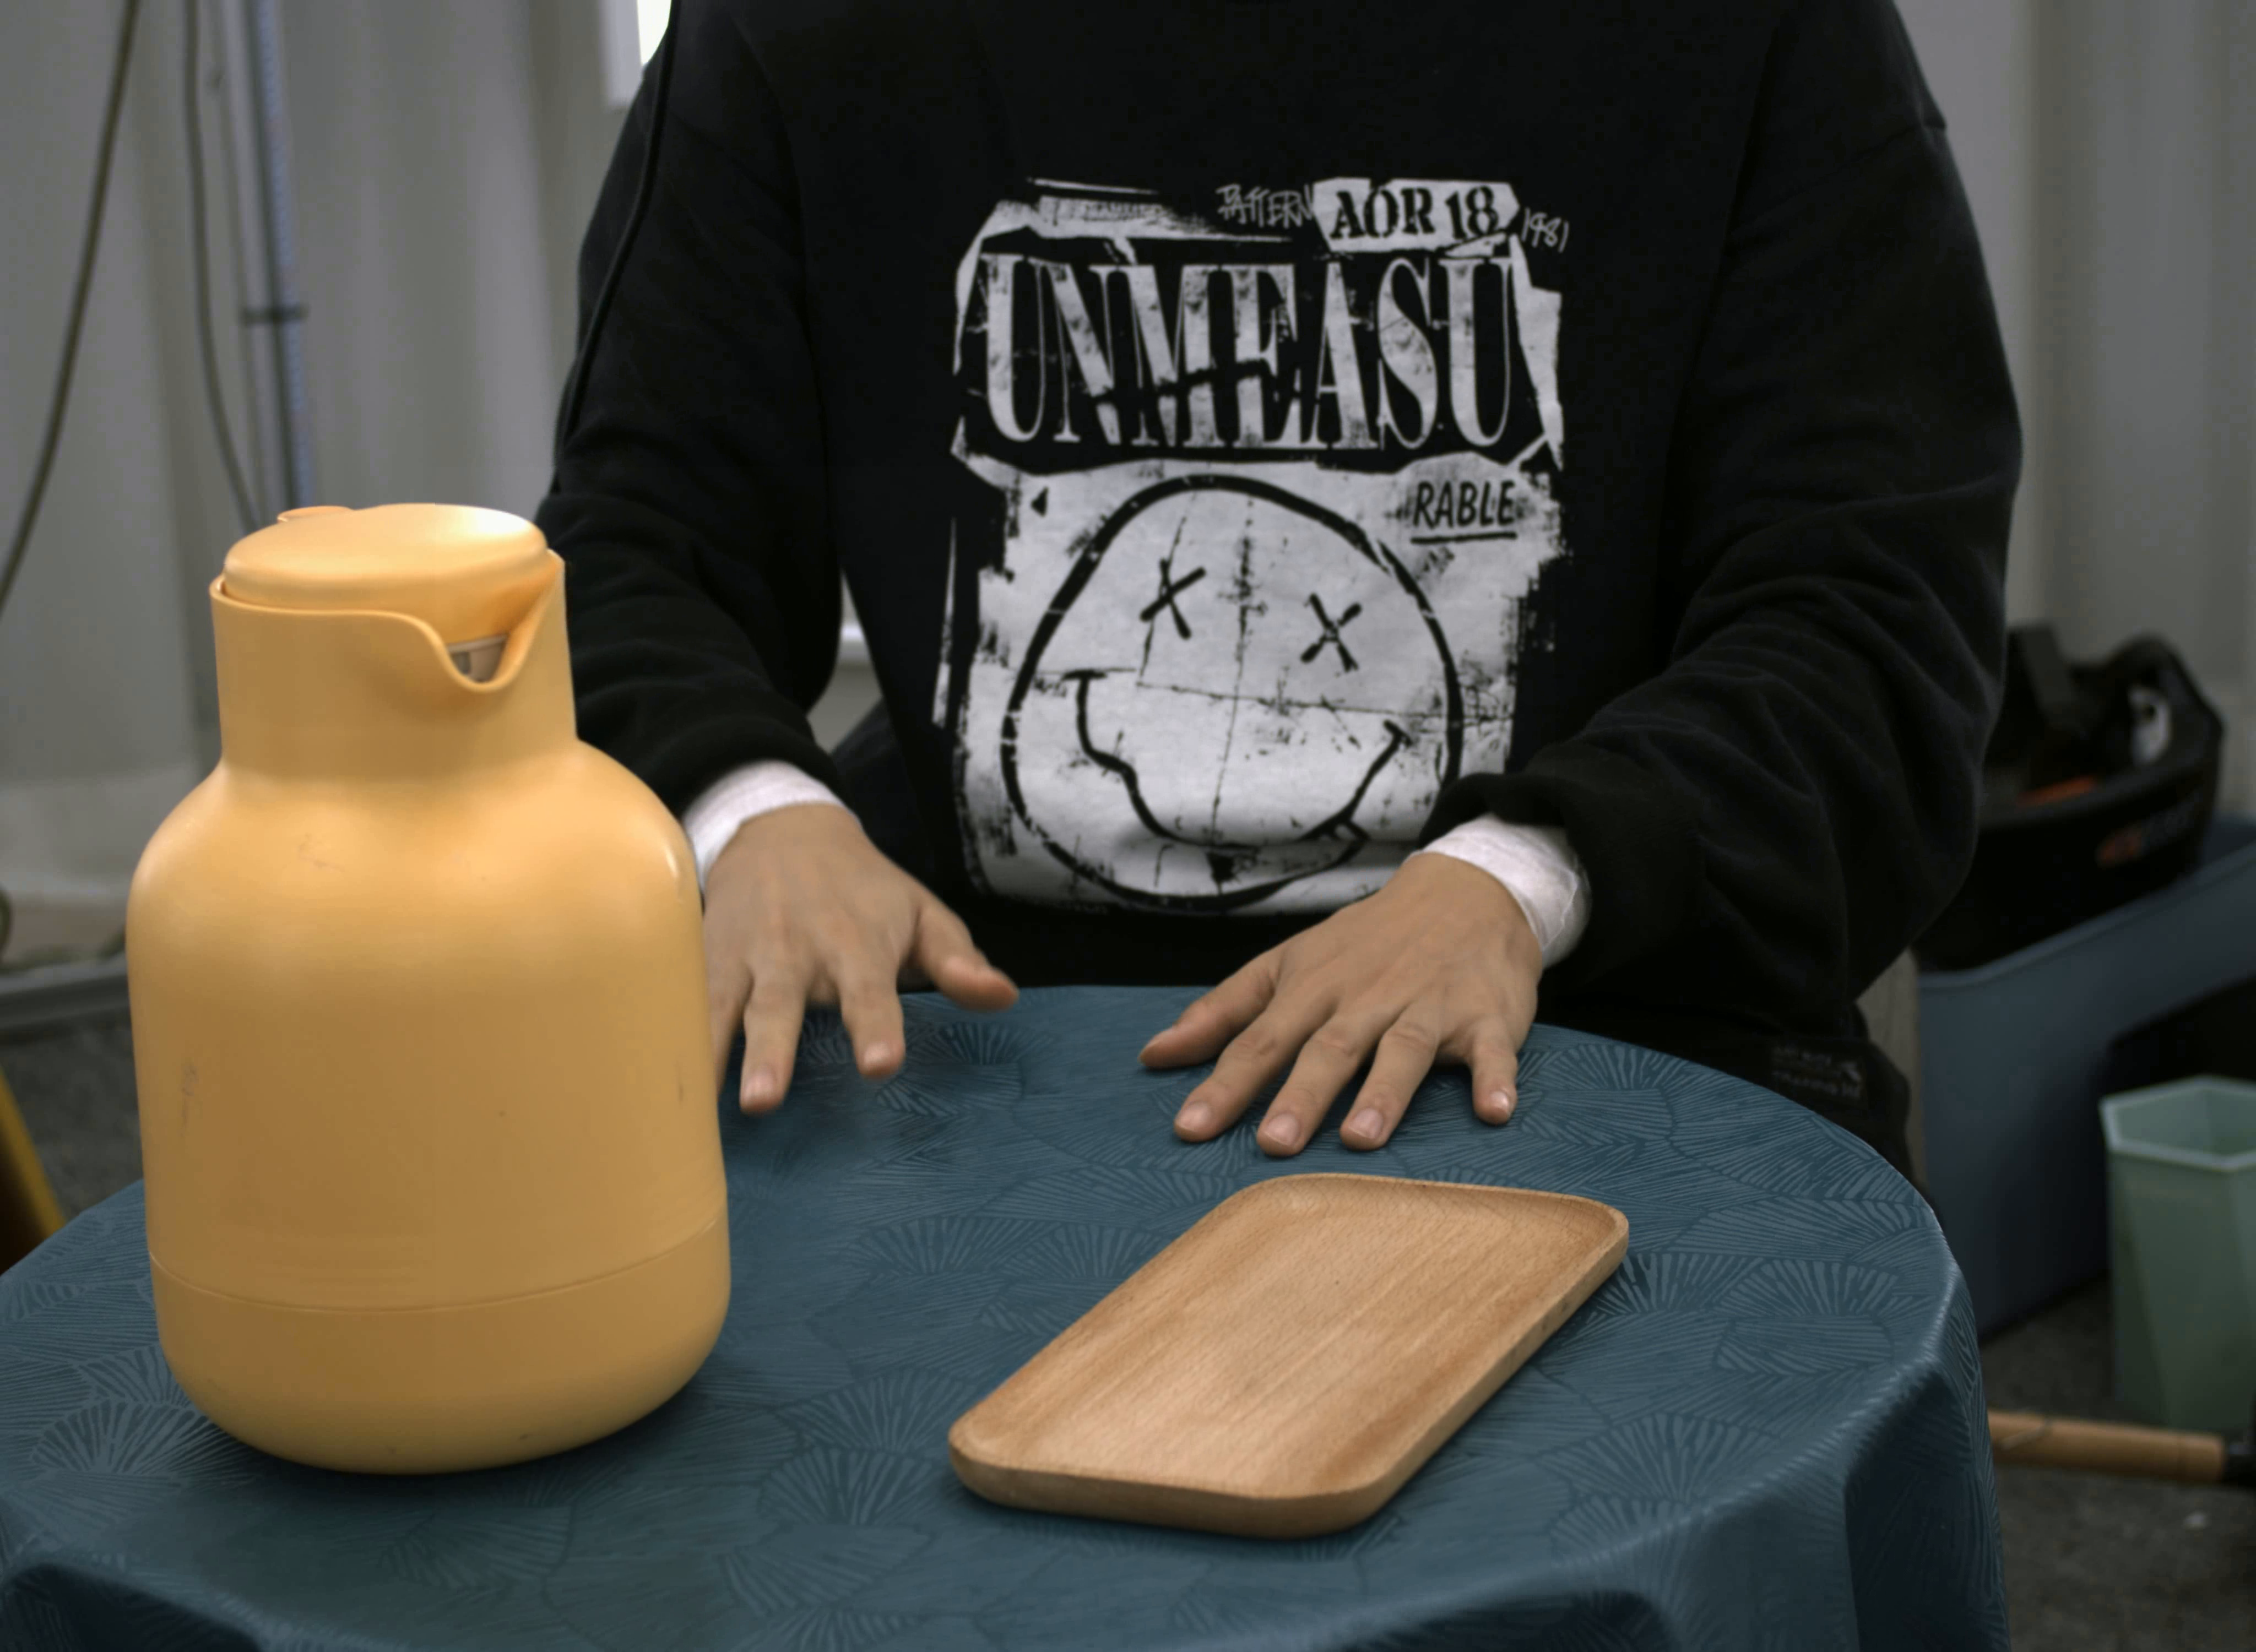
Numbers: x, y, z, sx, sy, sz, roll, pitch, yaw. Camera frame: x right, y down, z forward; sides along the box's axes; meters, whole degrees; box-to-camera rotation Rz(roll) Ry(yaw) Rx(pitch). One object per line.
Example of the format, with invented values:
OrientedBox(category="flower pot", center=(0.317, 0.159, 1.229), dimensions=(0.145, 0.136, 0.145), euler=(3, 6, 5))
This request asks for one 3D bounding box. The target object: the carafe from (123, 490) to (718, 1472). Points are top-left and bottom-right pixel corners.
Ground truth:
OrientedBox(category="carafe", center=(-0.206, 0.035, 1.548), dimensions=(0.162, 0.259, 0.204), euler=(-7, 16, -25))

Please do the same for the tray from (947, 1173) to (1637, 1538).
OrientedBox(category="tray", center=(0.051, 0.147, 1.550), dimensions=(0.131, 0.023, 0.251), euler=(7, 17, 24))
